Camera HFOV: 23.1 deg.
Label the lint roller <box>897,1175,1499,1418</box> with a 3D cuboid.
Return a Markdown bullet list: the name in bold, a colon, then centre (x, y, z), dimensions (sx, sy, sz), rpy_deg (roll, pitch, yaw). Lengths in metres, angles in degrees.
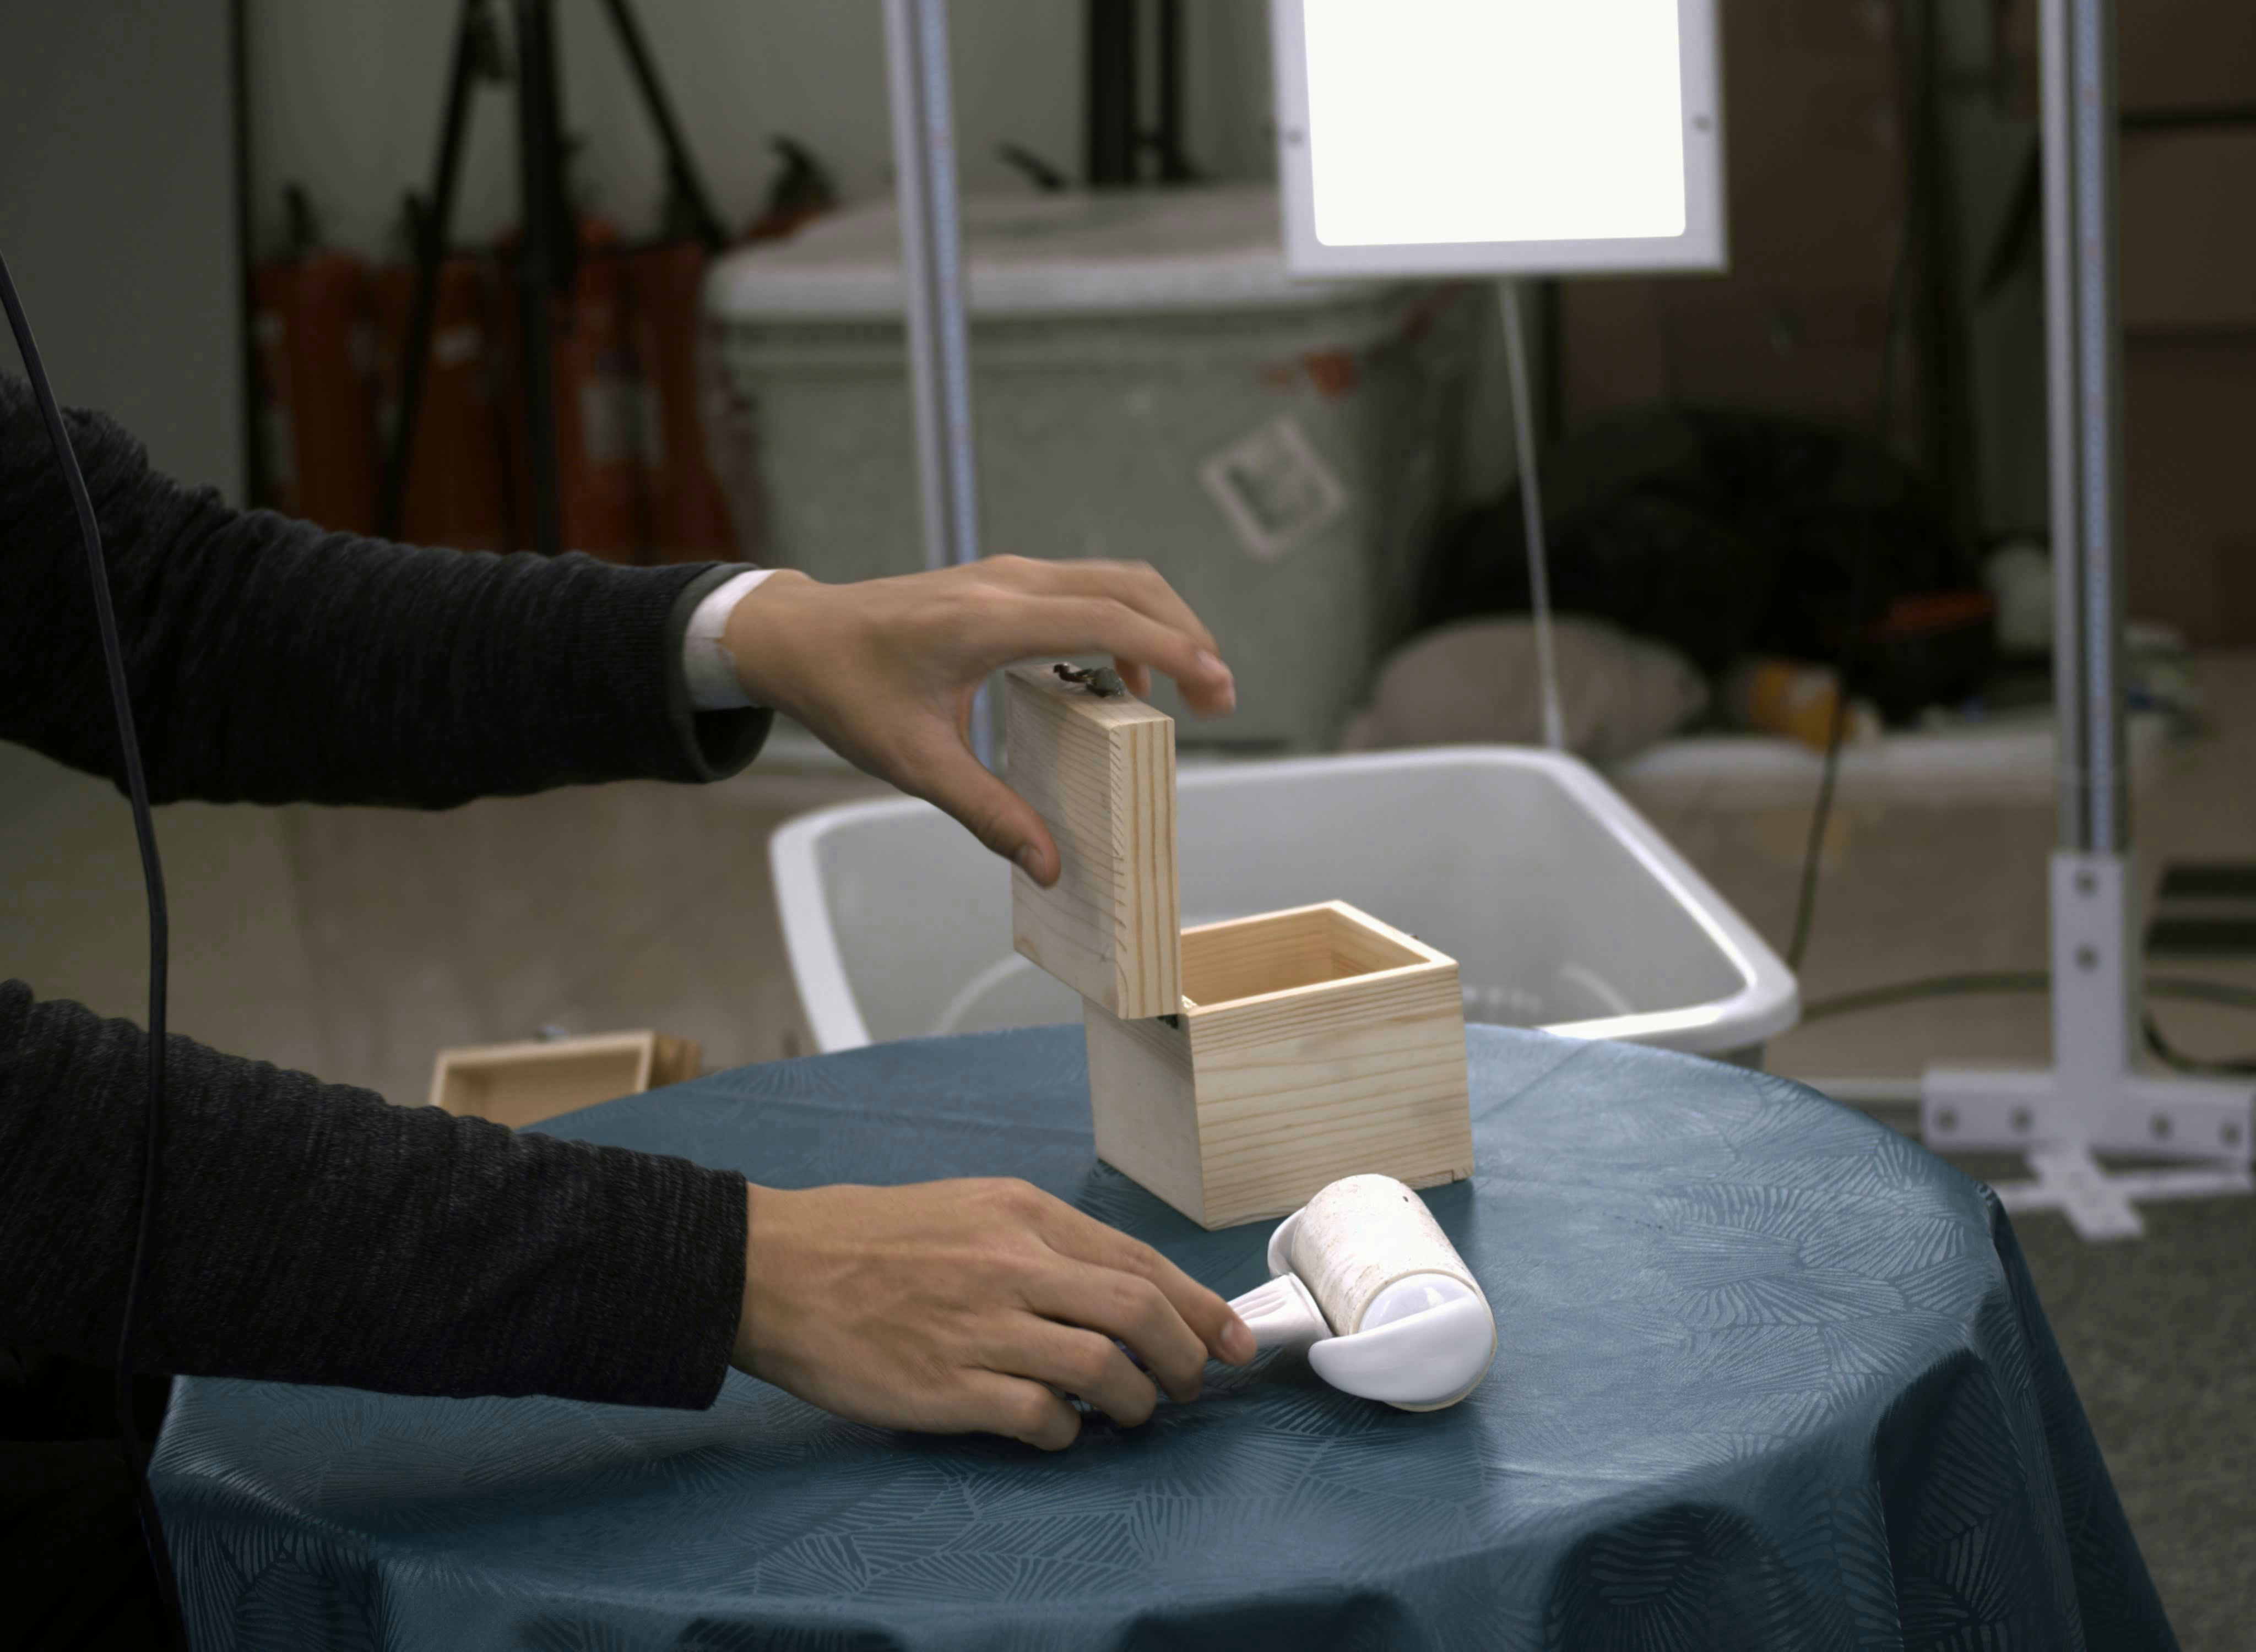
- **lint roller**: centre (0.017, 0.149, 1.698), dimensions (0.180, 0.050, 0.133), rpy_deg (-4, 15, -4)

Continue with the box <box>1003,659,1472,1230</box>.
- **box**: centre (0.038, 0.032, 1.884), dimensions (0.131, 0.185, 0.104), rpy_deg (-10, 15, -18)
